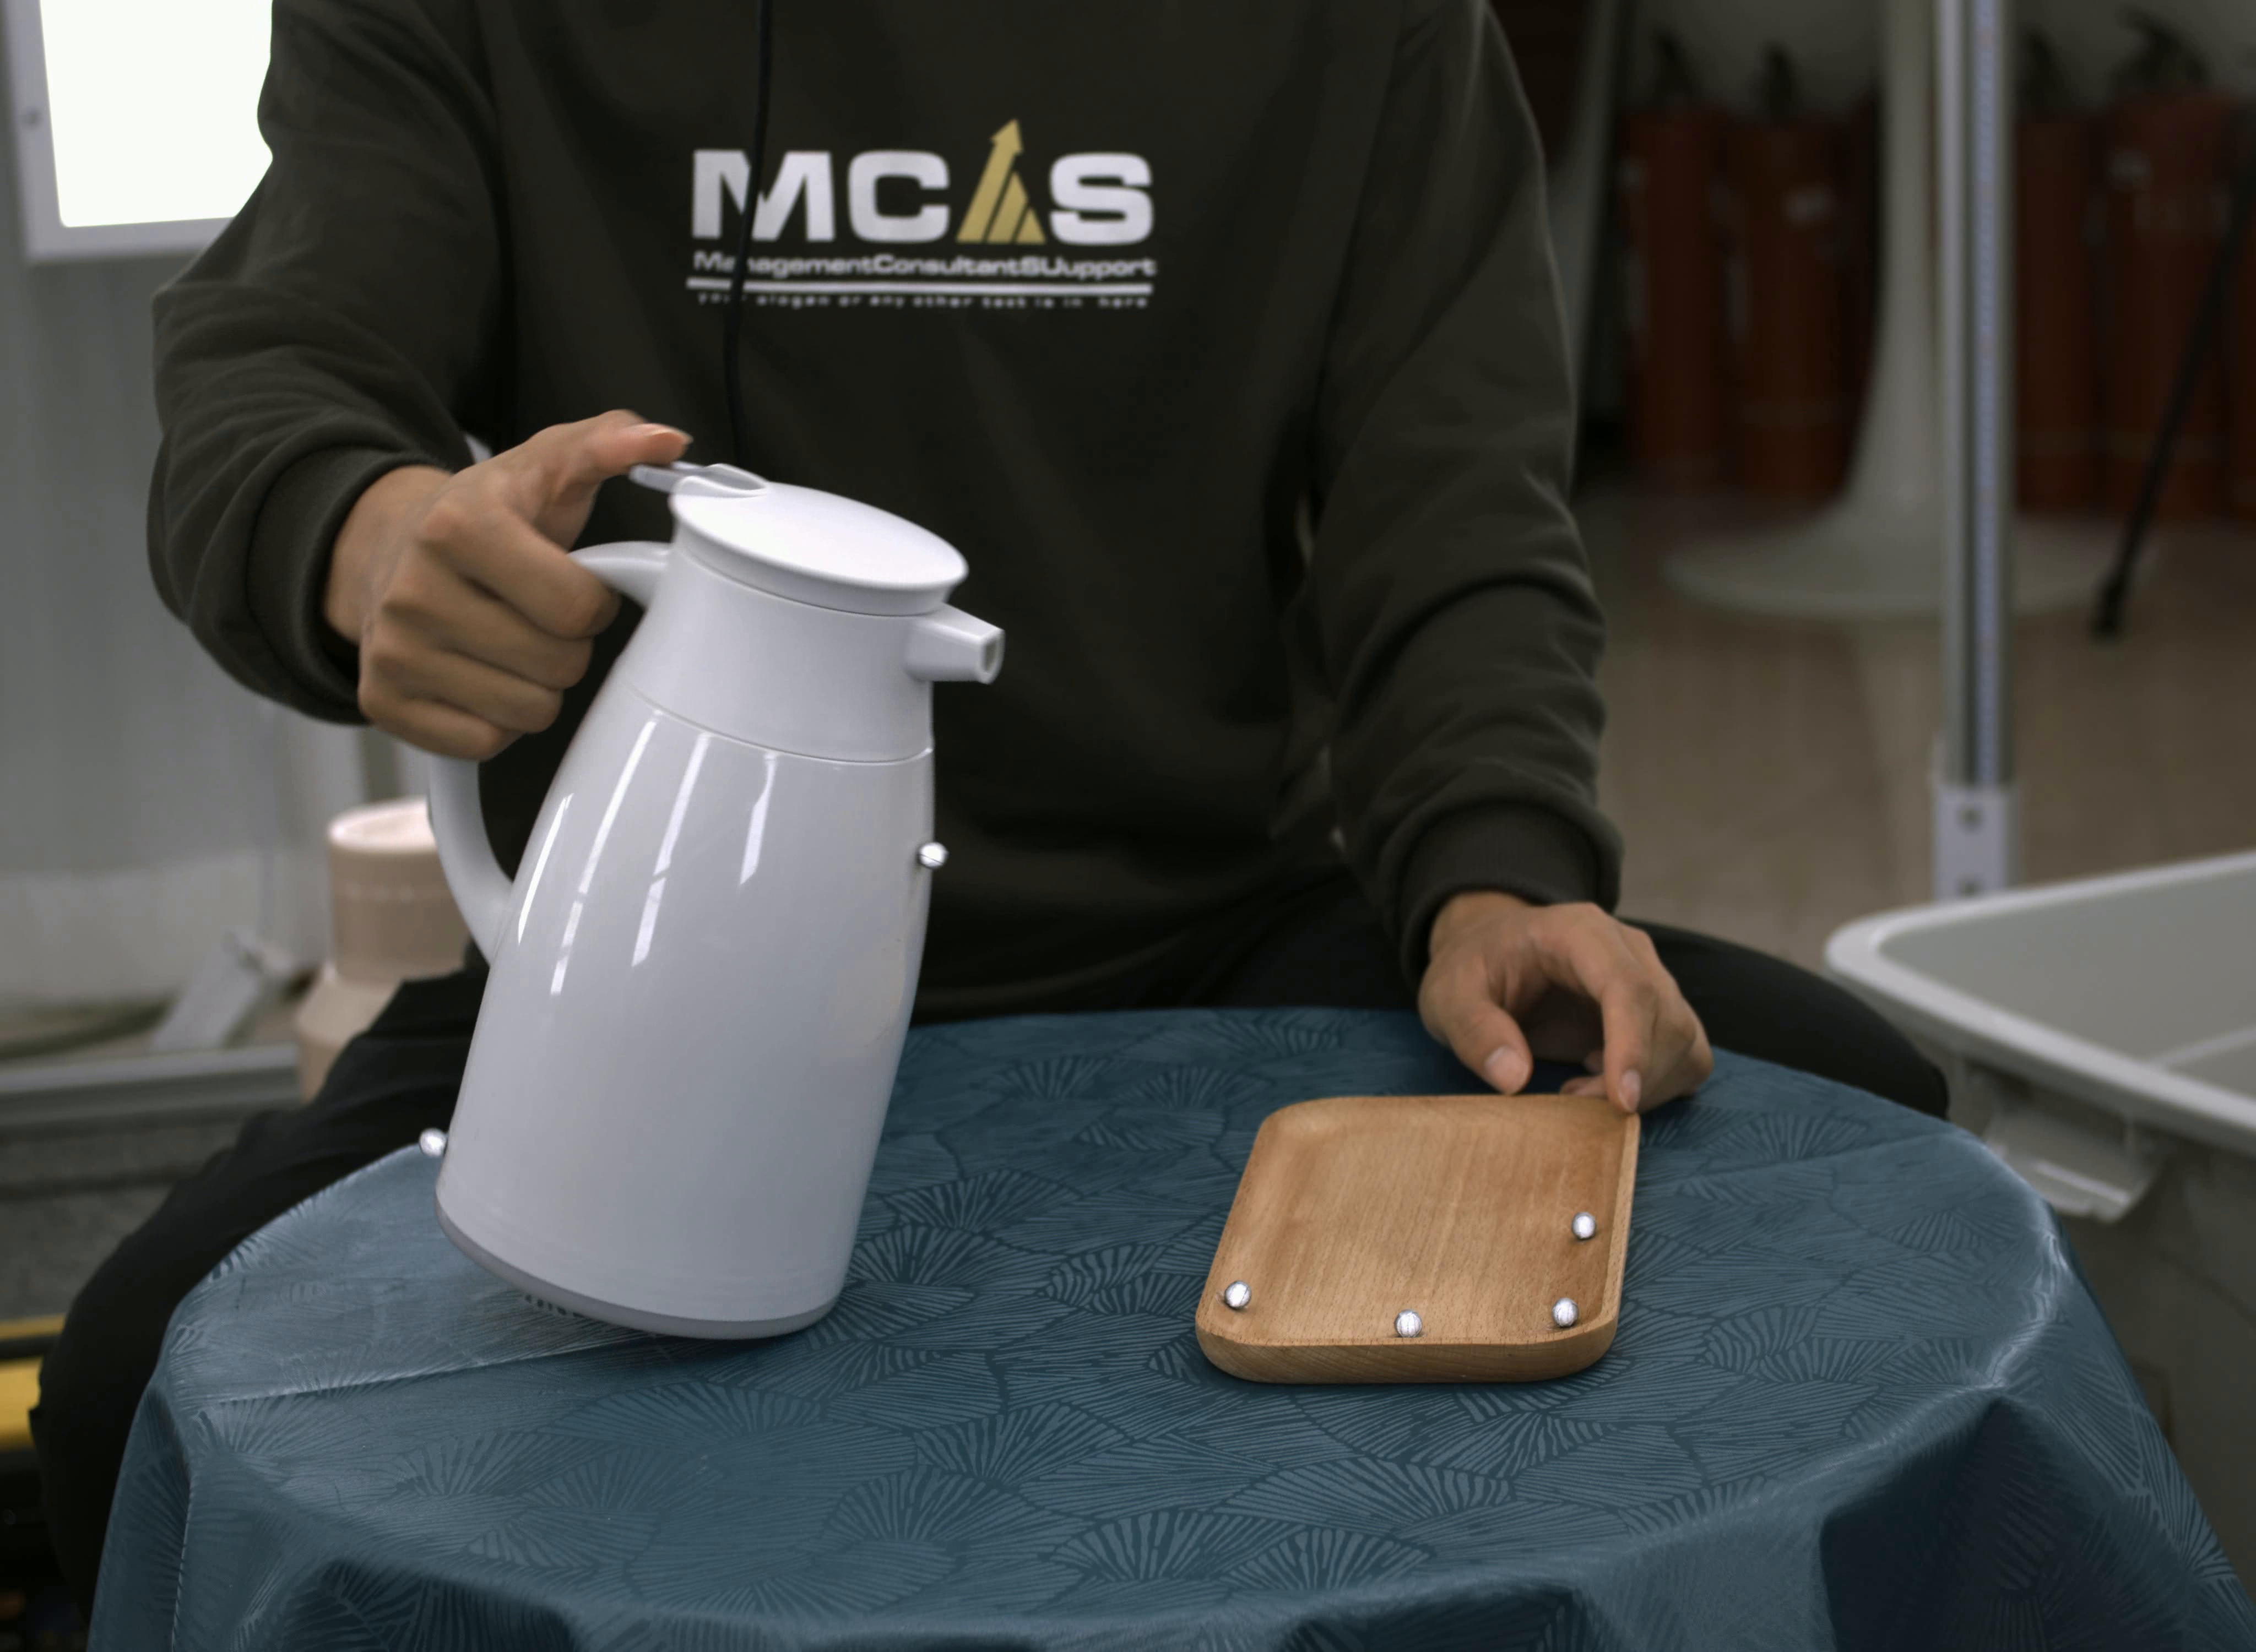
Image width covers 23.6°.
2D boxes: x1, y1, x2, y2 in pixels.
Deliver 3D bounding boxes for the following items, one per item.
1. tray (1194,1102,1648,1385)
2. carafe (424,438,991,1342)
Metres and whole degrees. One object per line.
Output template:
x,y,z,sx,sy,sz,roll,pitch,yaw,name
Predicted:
0.096,0.128,1.688,0.129,0.023,0.249,1,13,9,tray
-0.141,0.011,1.654,0.167,0.251,0.131,17,17,14,carafe
